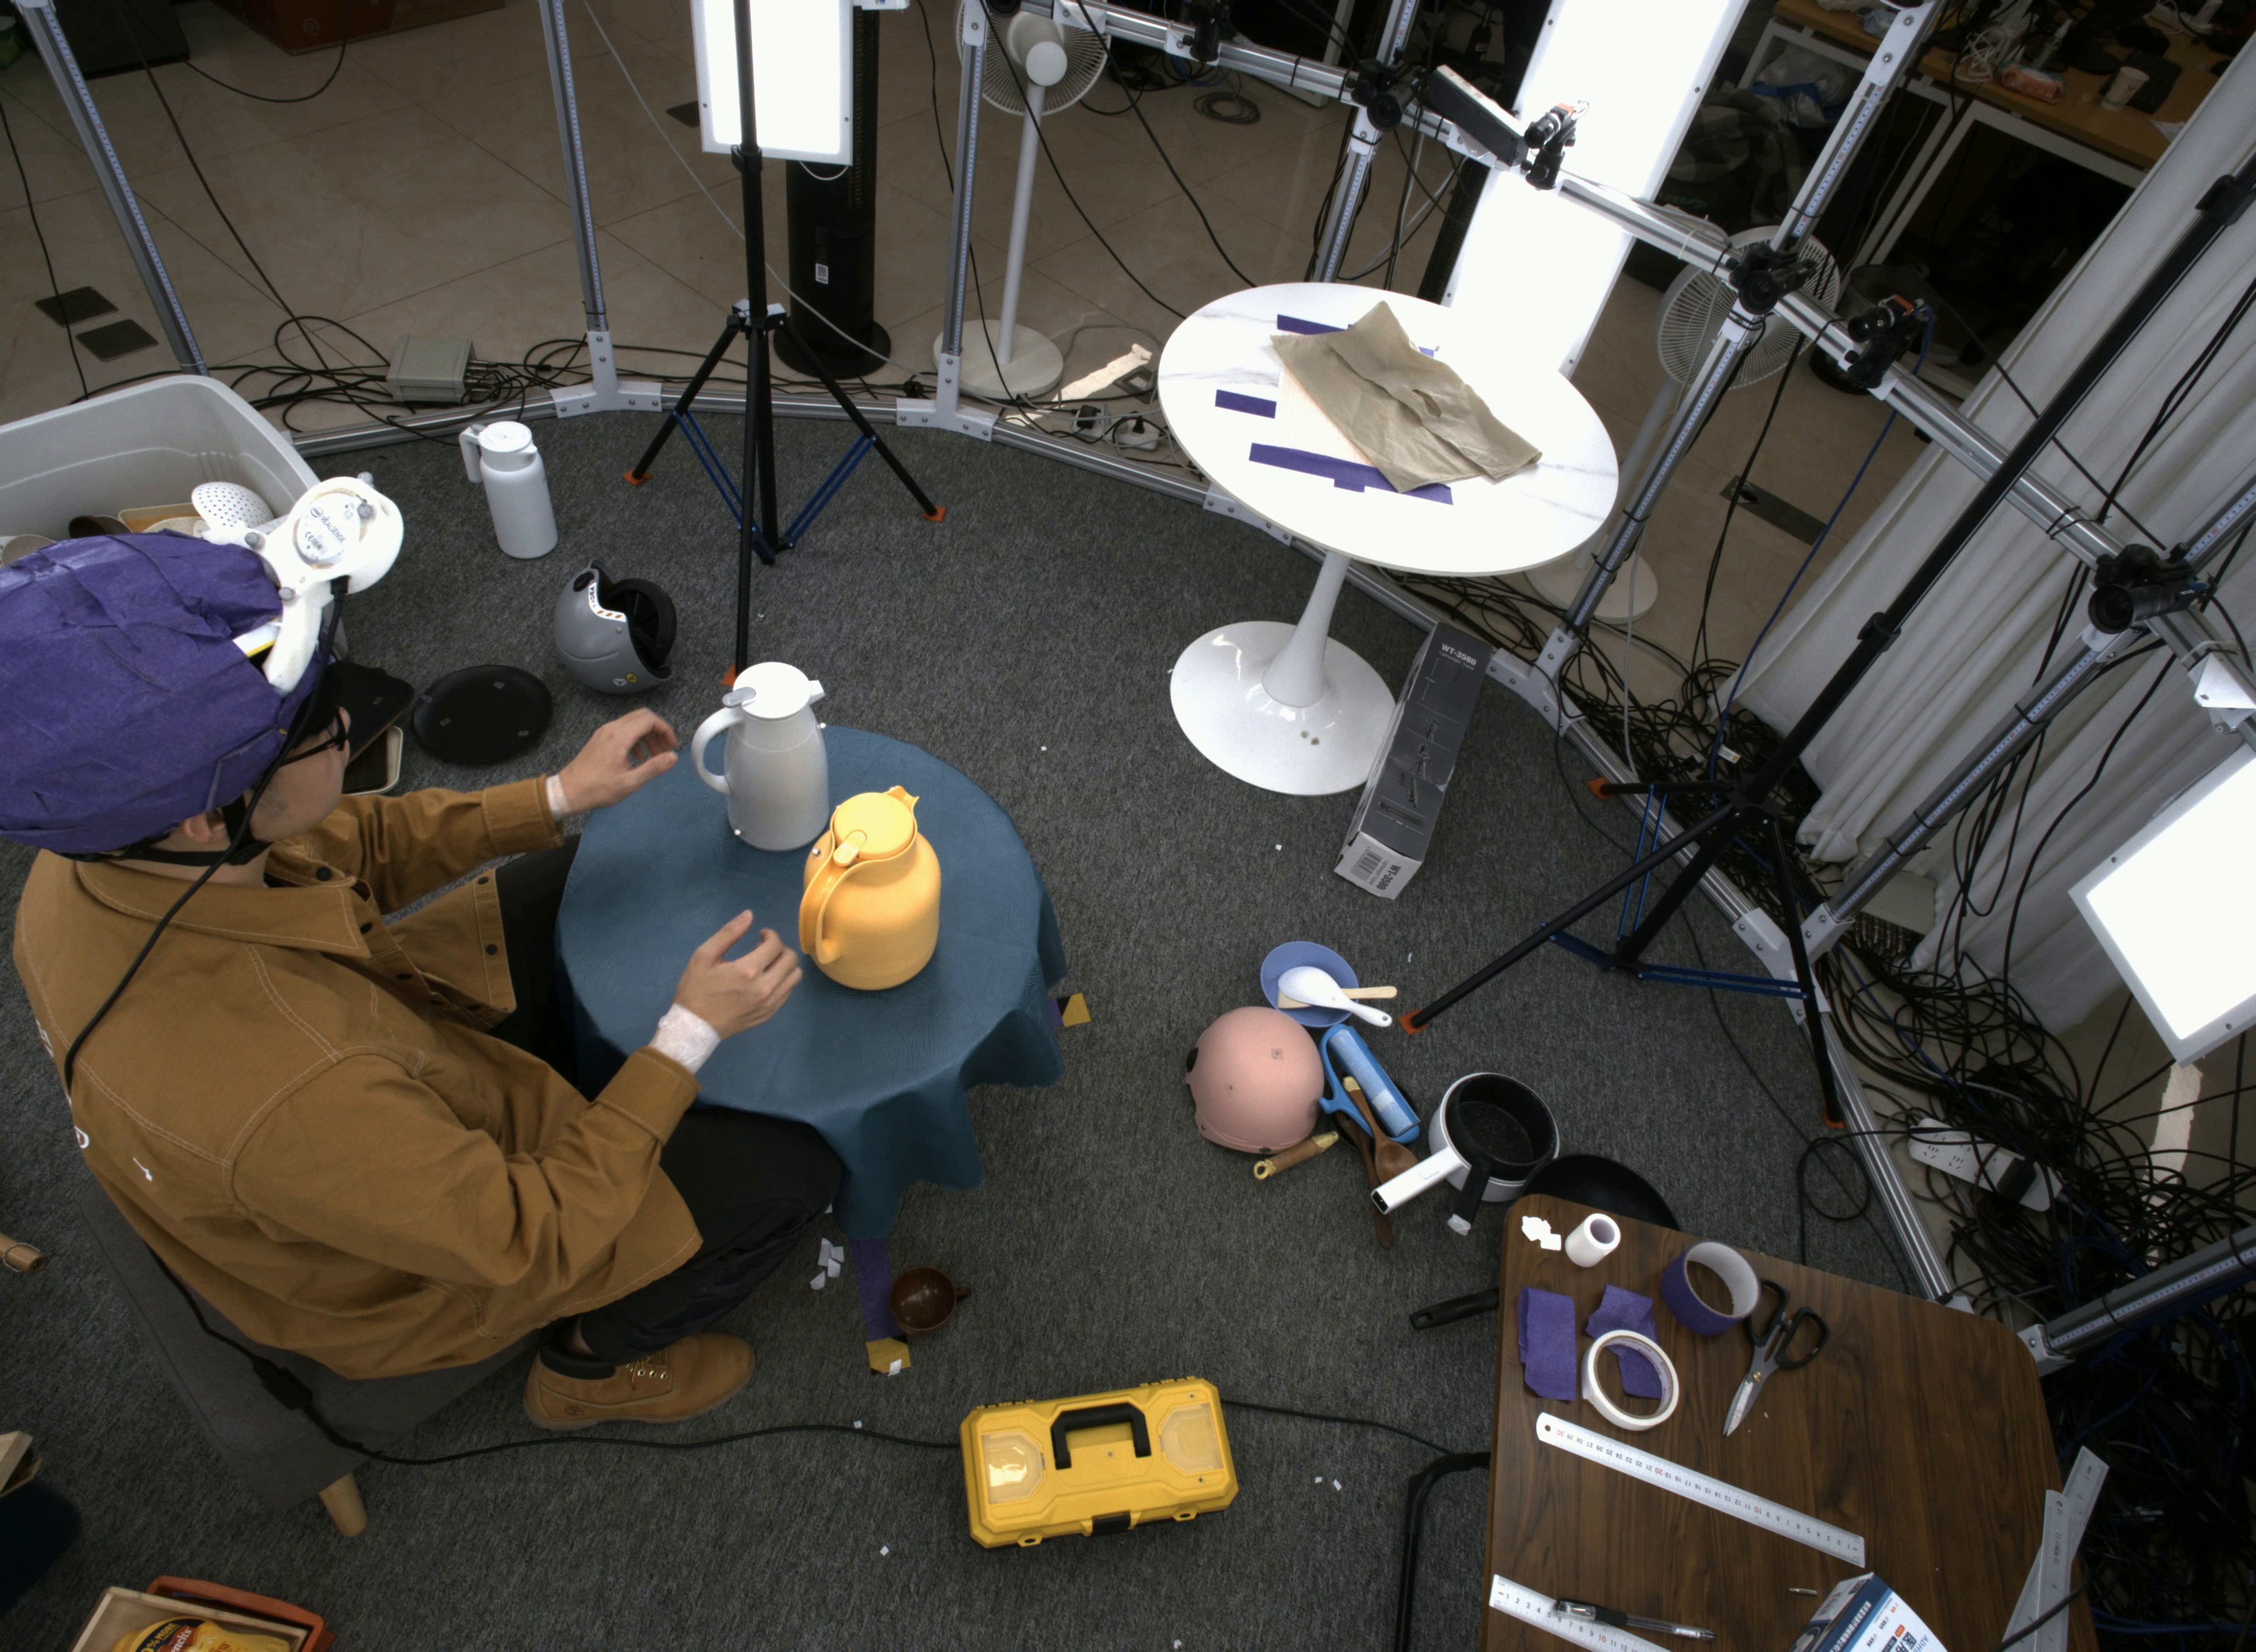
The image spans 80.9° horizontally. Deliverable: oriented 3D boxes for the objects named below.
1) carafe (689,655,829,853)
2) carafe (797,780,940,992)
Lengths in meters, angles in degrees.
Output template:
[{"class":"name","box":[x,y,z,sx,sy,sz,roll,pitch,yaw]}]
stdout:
[{"class":"carafe","box":[-0.462,-0.090,1.617,0.168,0.254,0.129,-19,58,-24]},{"class":"carafe","box":[-0.314,0.078,1.524,0.160,0.266,0.202,29,51,13]}]
